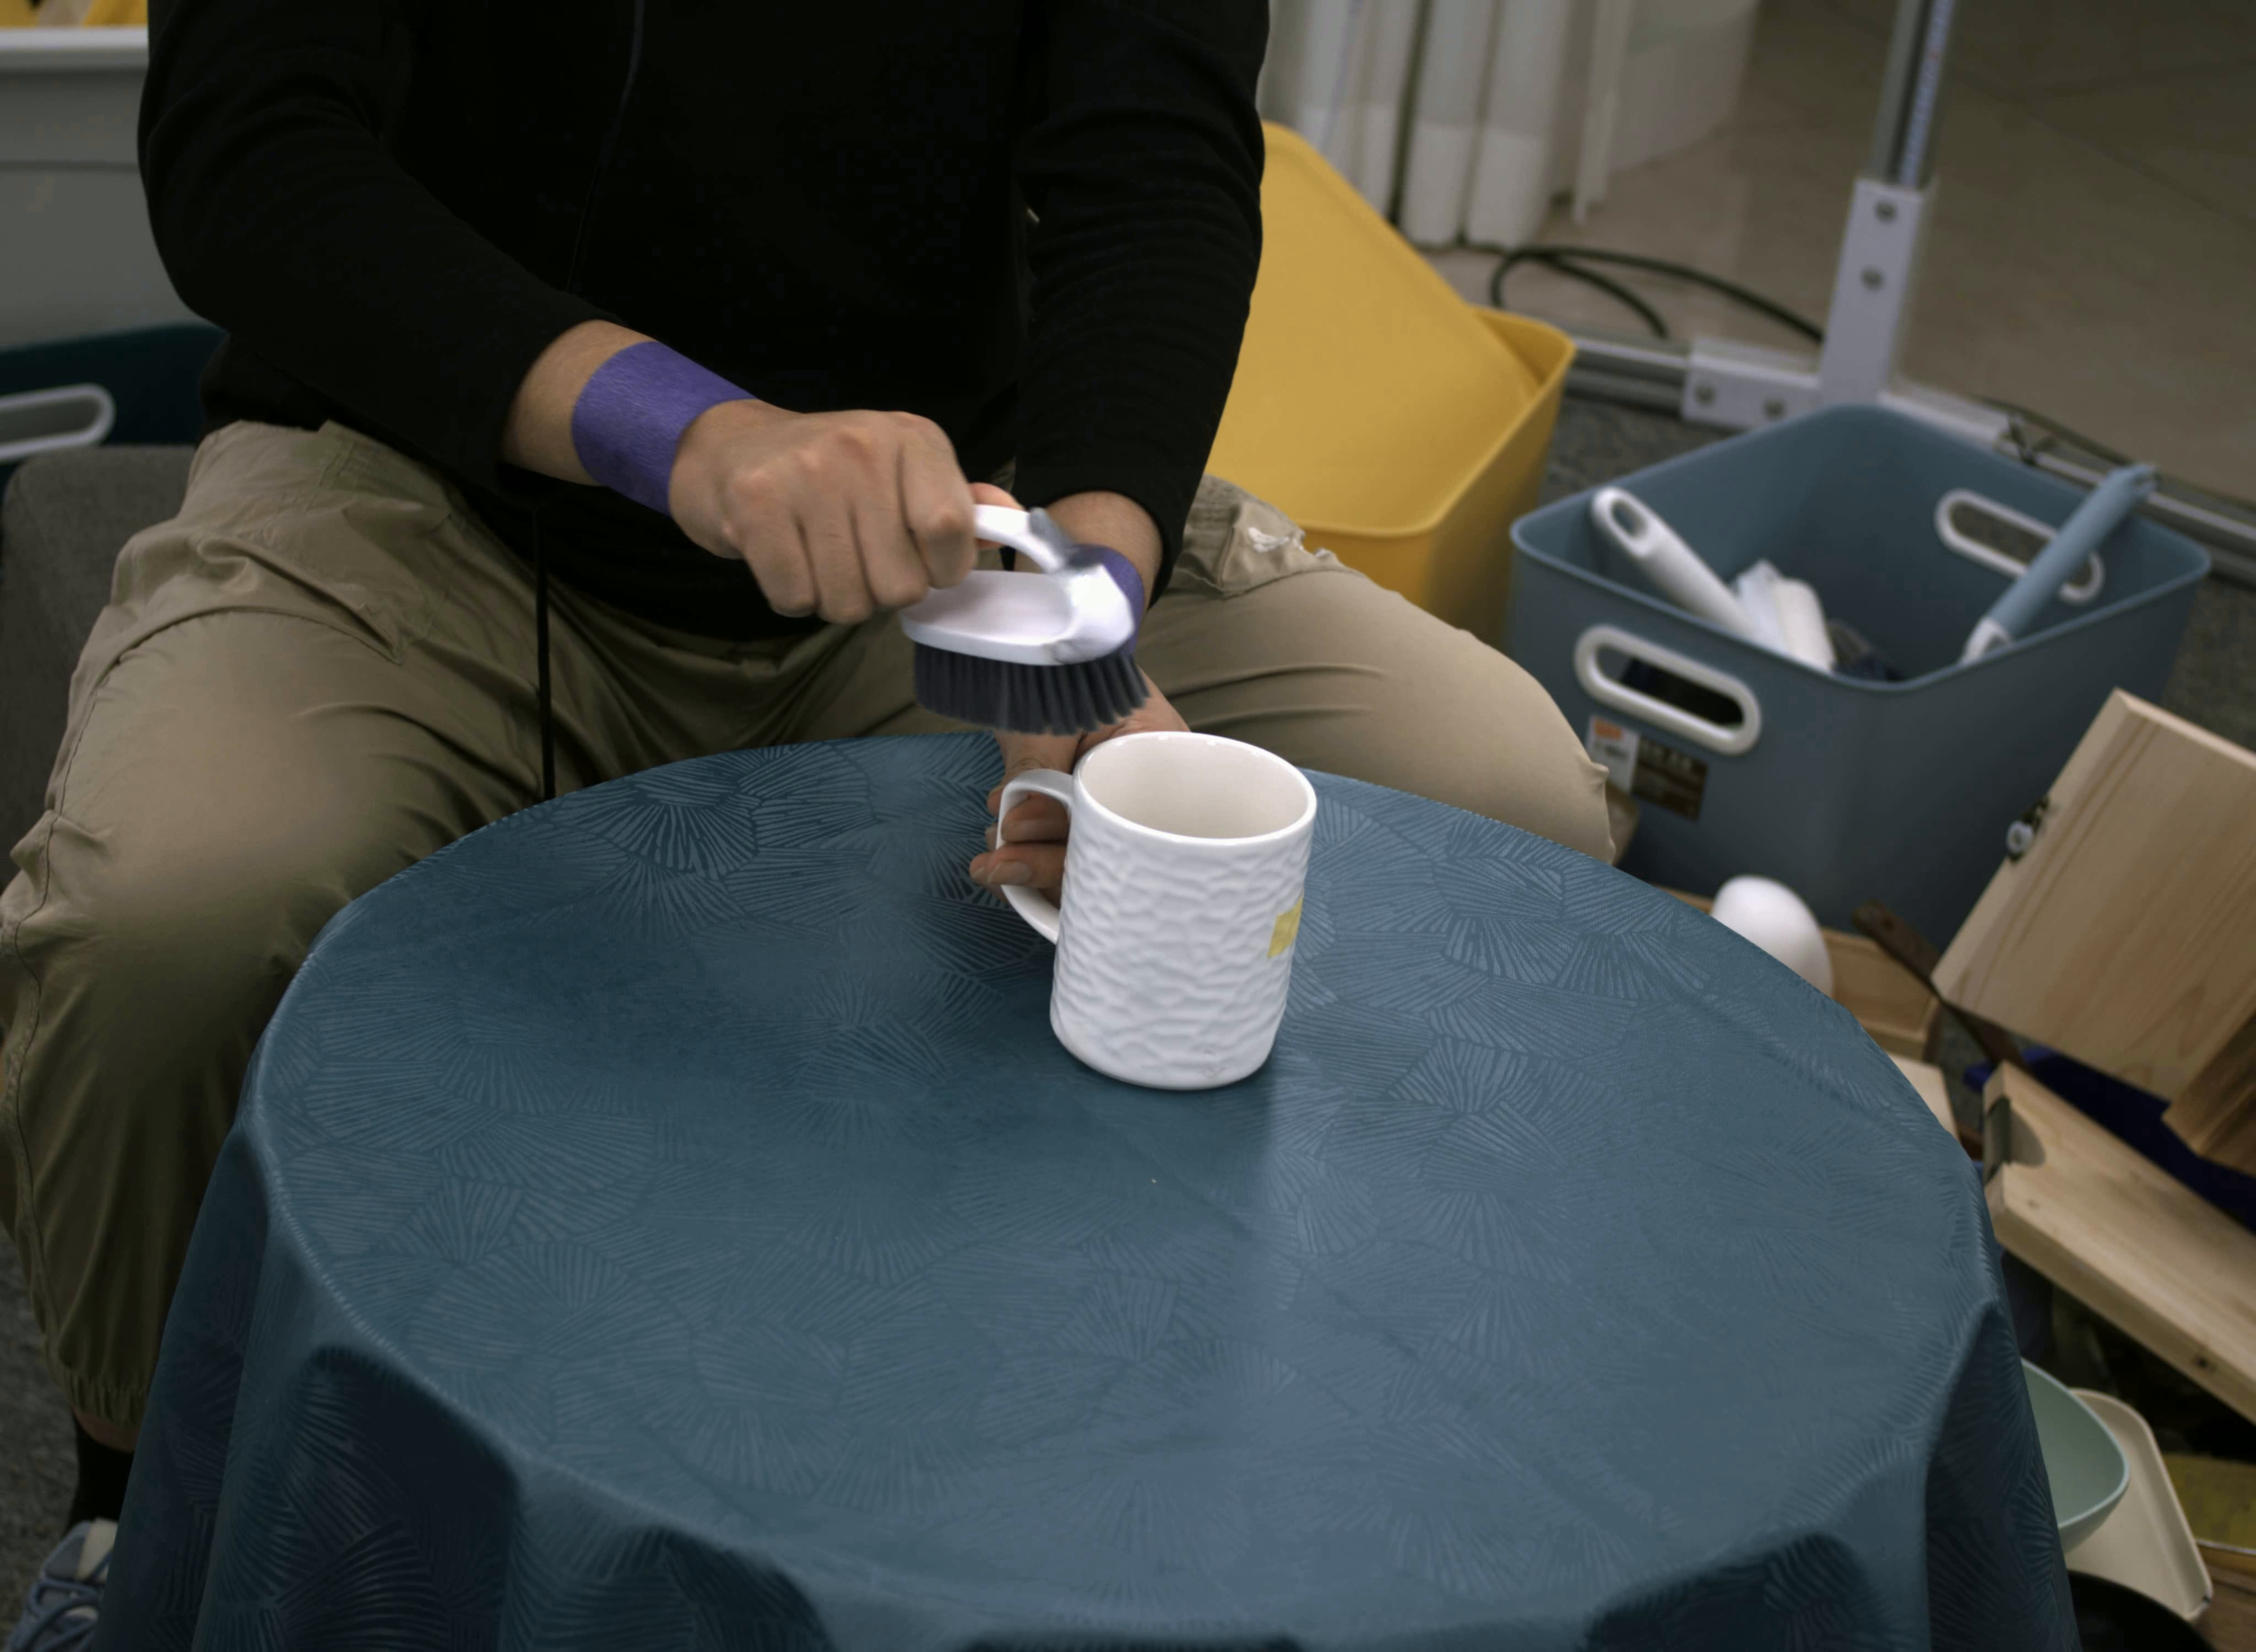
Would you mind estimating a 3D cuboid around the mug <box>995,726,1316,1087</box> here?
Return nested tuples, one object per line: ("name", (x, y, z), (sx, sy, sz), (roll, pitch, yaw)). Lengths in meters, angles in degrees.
("mug", (0.004, 0.024, 1.882), (0.119, 0.101, 0.085), (20, 30, 25))

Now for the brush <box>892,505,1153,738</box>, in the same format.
("brush", (-0.040, -0.076, 1.862), (0.100, 0.072, 0.050), (11, 31, 38))
